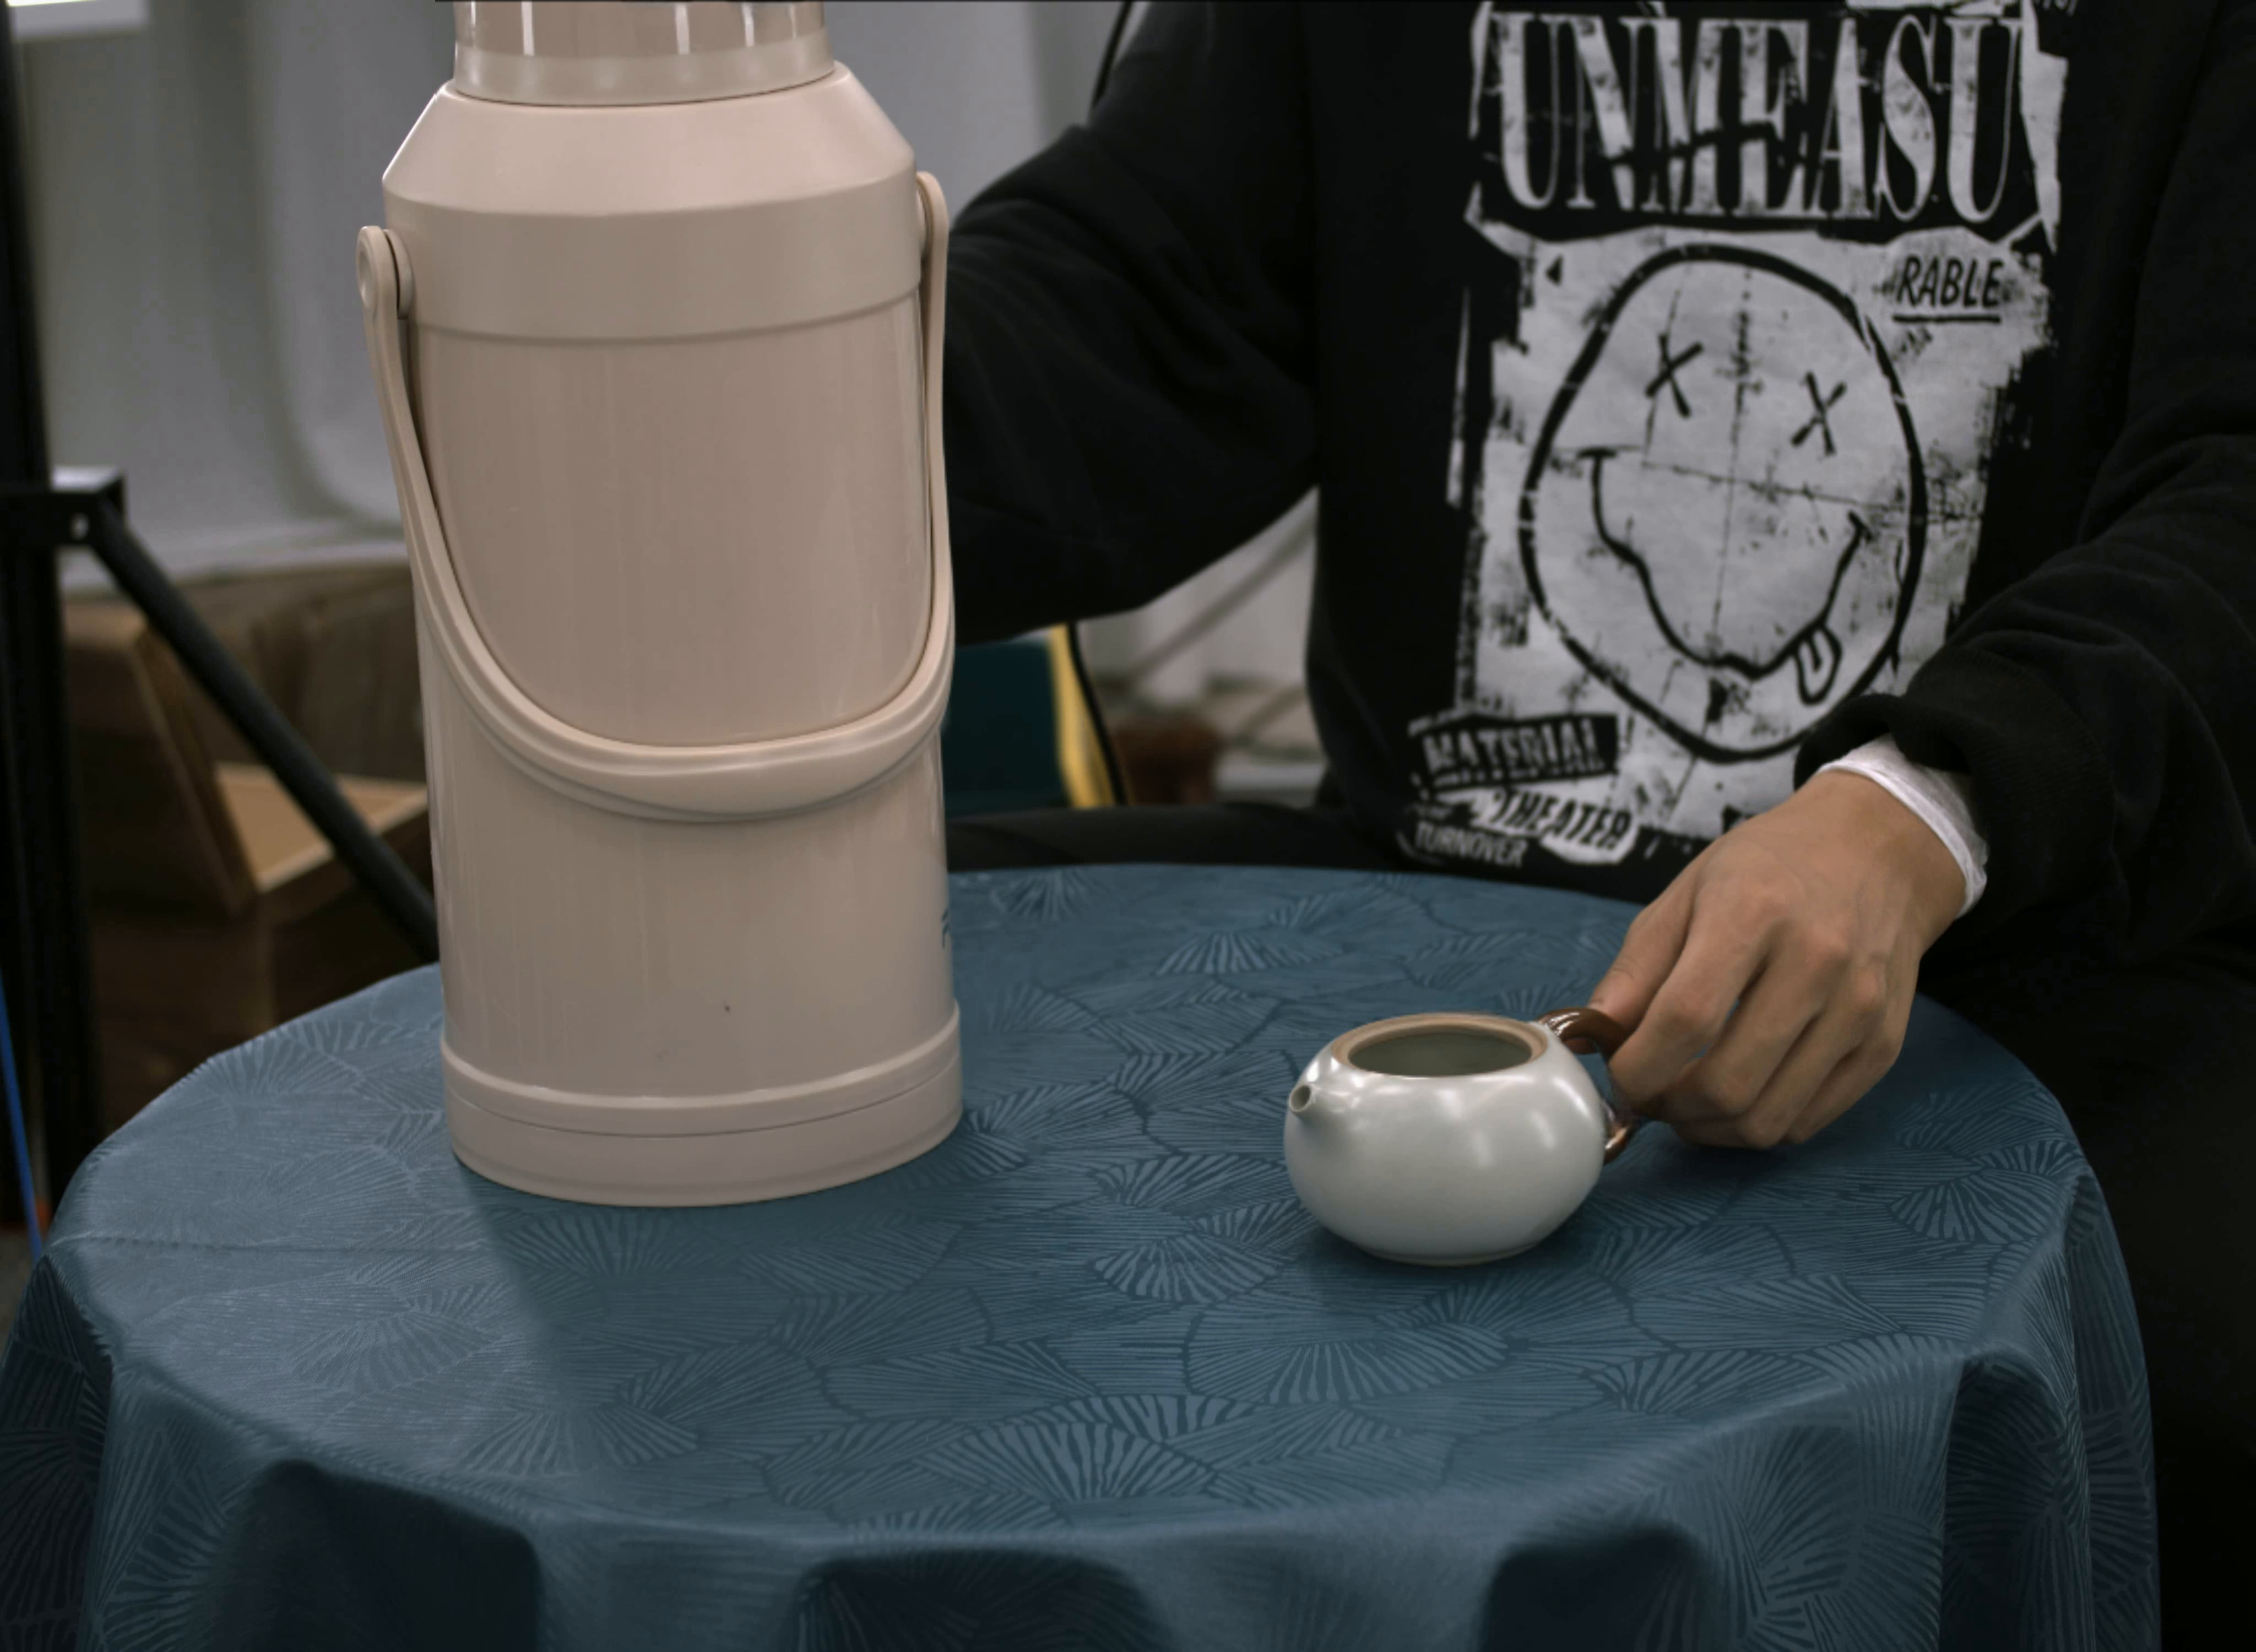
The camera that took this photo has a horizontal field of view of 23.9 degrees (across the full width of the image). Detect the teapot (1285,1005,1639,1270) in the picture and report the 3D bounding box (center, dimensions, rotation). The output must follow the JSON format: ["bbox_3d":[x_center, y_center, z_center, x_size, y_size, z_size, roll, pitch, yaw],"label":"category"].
[{"bbox_3d":[0.098,0.087,1.504,0.125,0.059,0.094,-15,16,-36],"label":"teapot"}]

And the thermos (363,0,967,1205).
[{"bbox_3d":[-0.139,-0.104,1.602,0.172,0.406,0.211,-9,17,-21],"label":"thermos"}]
